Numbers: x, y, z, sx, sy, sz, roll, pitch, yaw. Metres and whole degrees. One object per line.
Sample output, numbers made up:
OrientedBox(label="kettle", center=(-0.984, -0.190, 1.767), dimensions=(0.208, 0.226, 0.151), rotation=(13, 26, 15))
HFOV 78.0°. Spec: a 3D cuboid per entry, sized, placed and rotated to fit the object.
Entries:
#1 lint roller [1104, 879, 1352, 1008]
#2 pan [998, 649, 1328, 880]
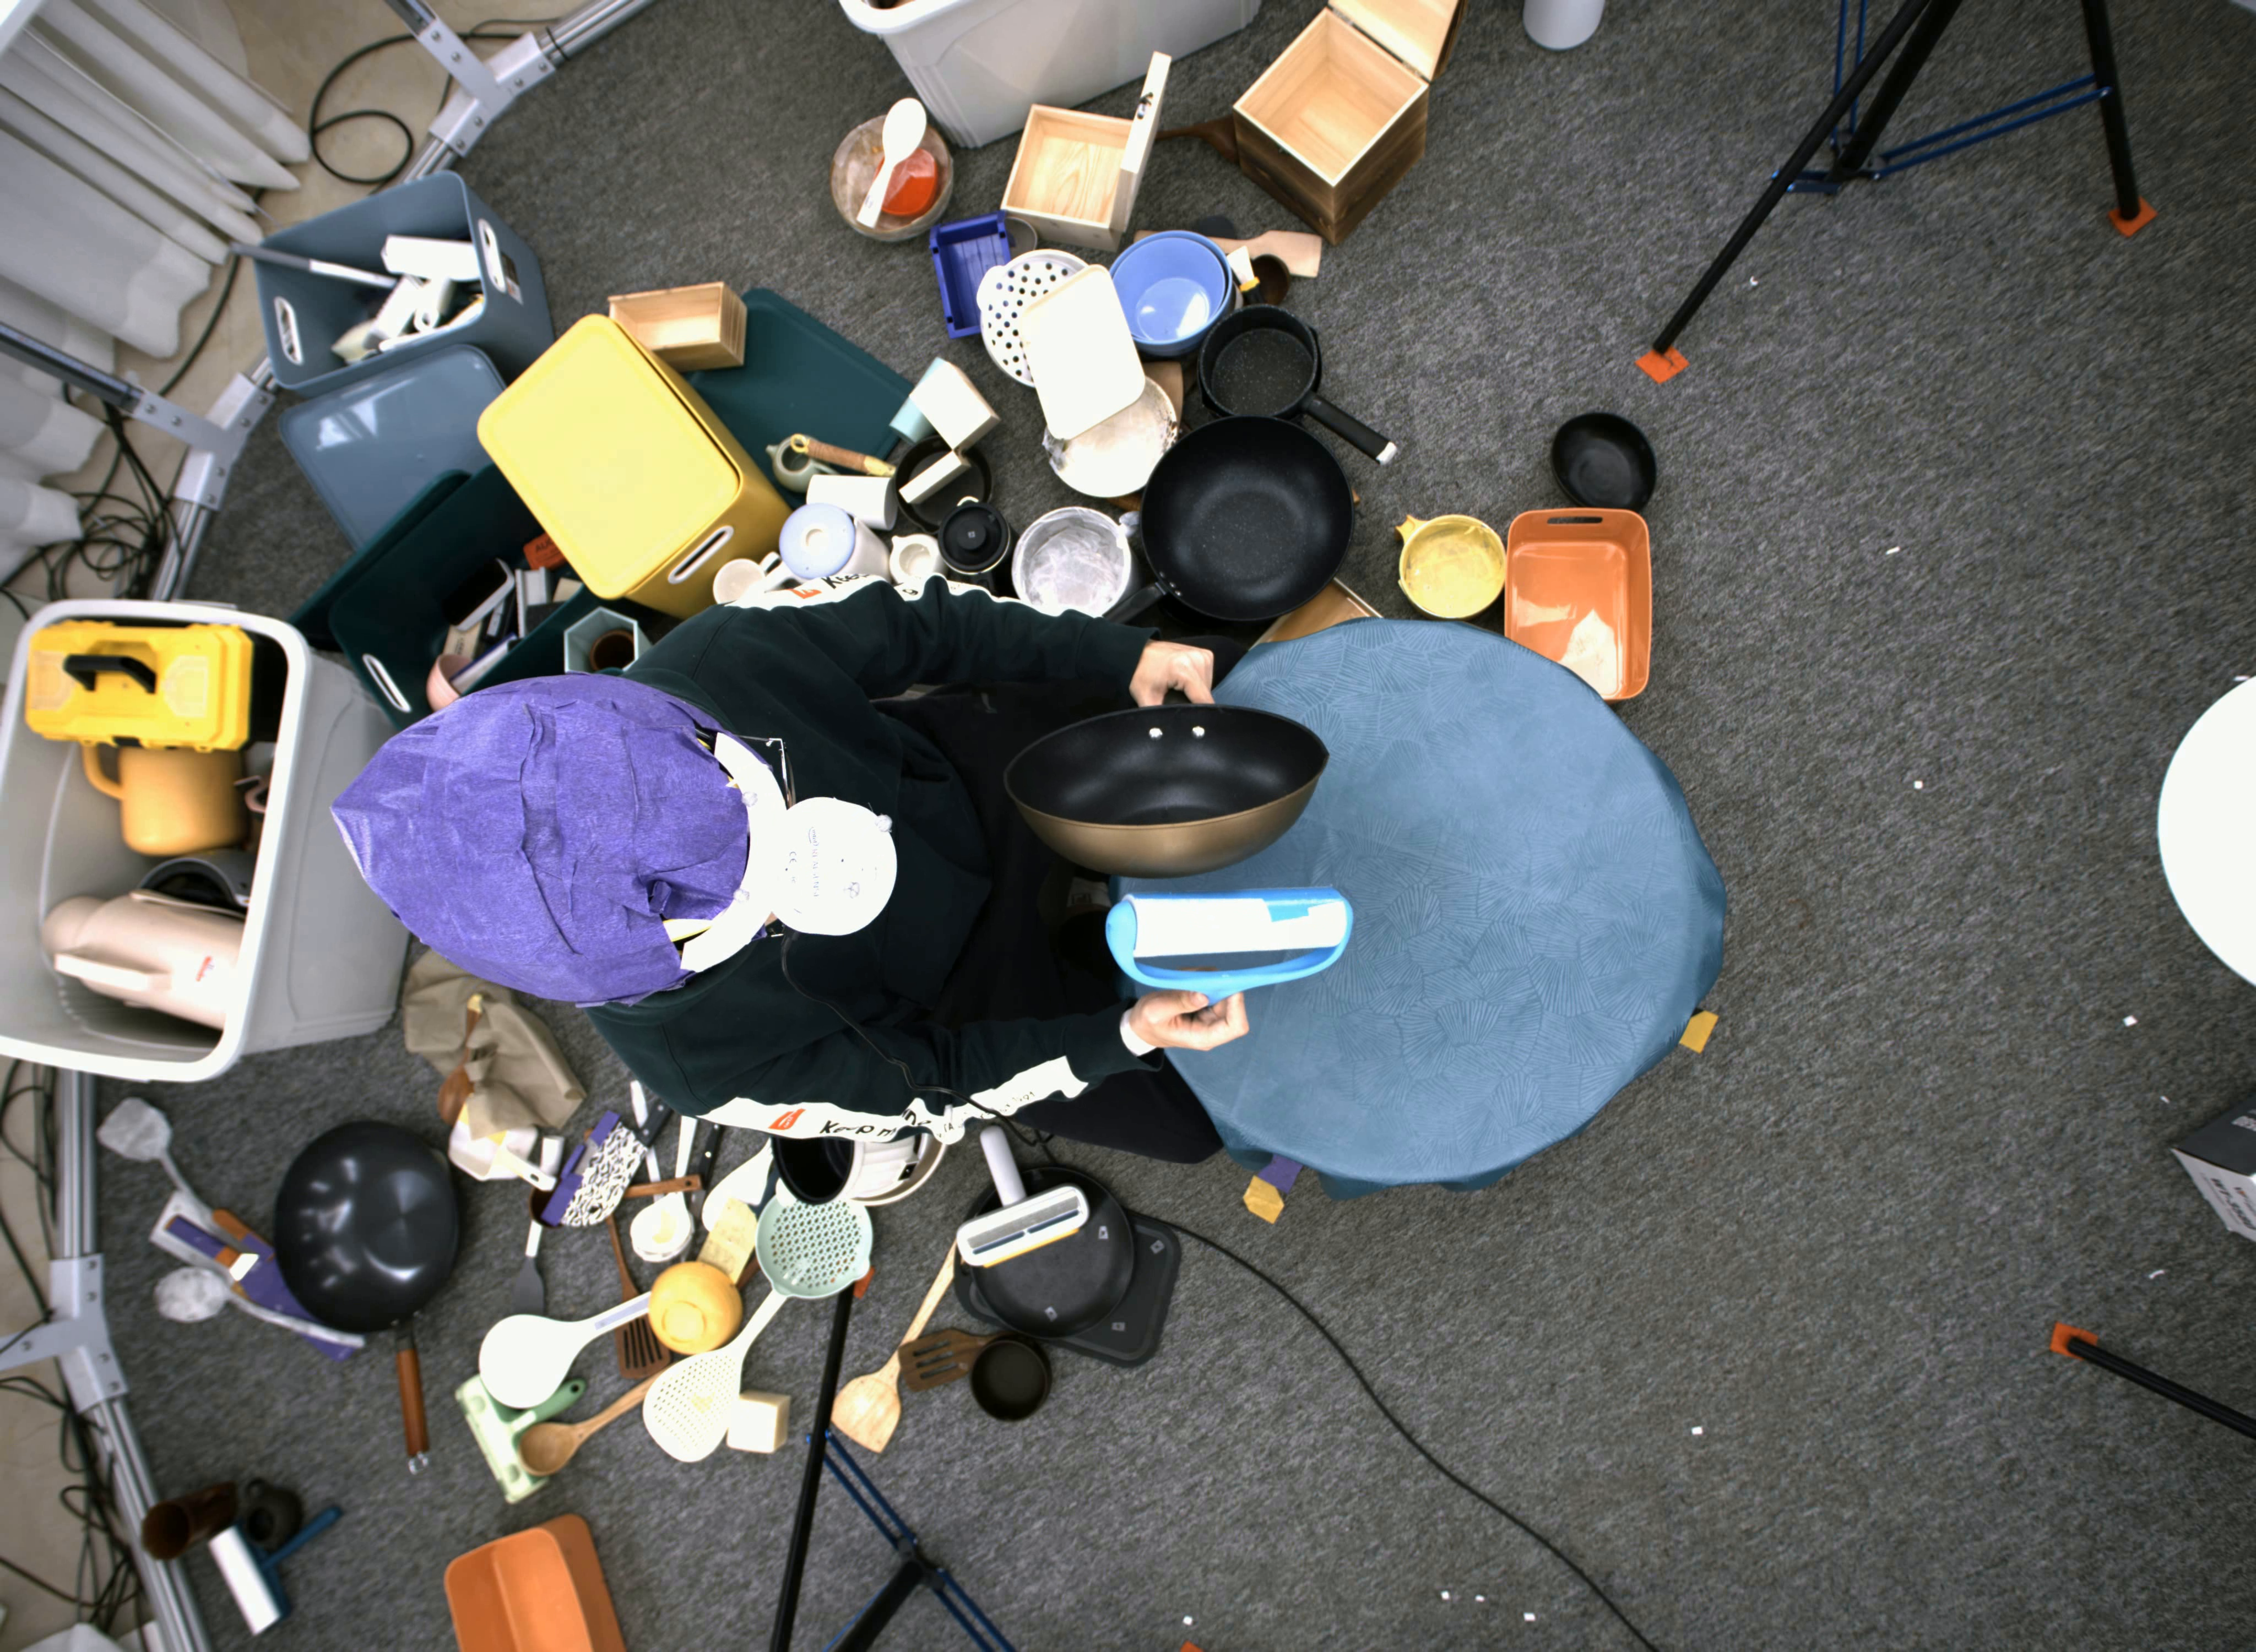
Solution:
OrientedBox(label="lint roller", center=(0.077, 0.120, 1.226), dimensions=(0.228, 0.185, 0.066), rotation=(-6, 50, -19))
OrientedBox(label="pan", center=(0.042, -0.062, 1.304), dimensions=(0.289, 0.453, 0.088), rotation=(-2, 115, 8))
